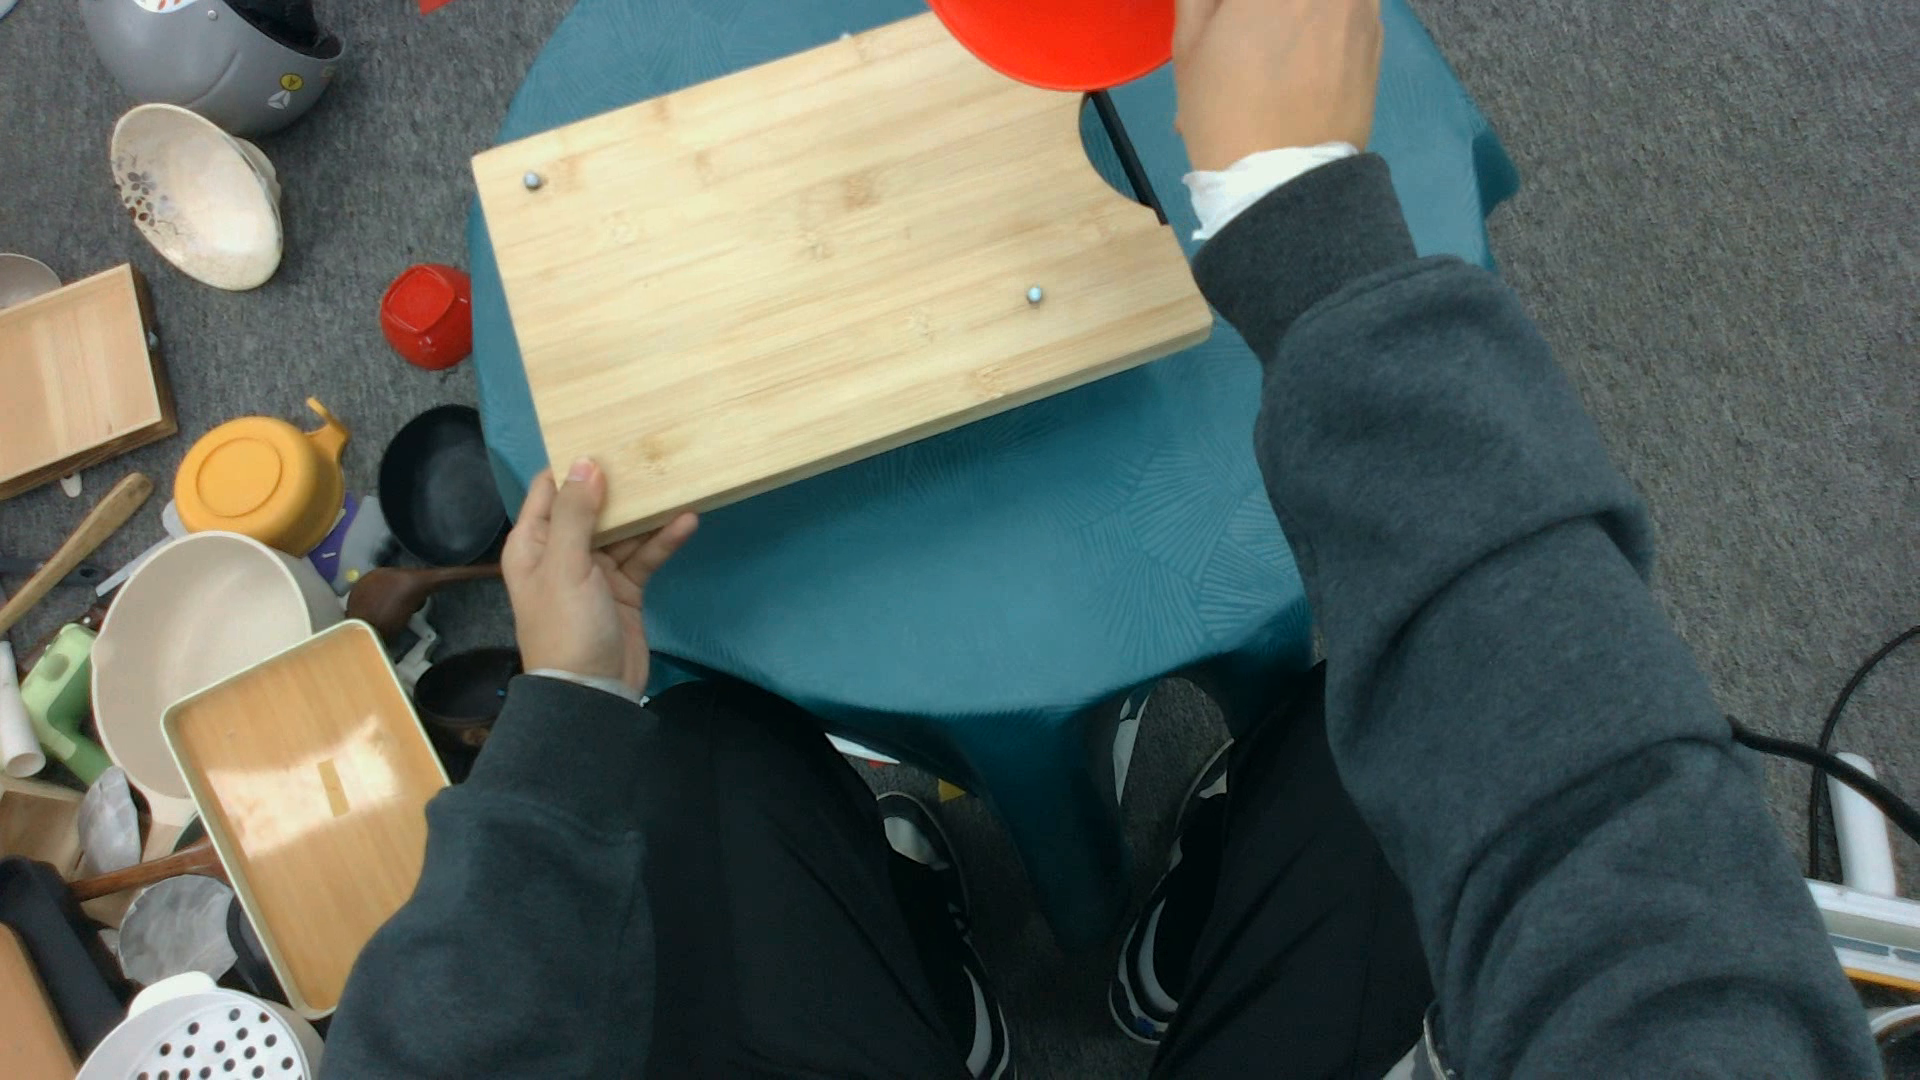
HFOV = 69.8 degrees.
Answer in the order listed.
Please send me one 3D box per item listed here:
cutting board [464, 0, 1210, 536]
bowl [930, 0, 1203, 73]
[{"bbox_3d":[-0.075,-0.165,0.736,0.349,0.023,0.251,-20,71,-5],"label":"cutting board"},{"bbox_3d":[0.061,-0.282,0.588,0.148,0.147,0.105,35,38,14],"label":"bowl"}]
